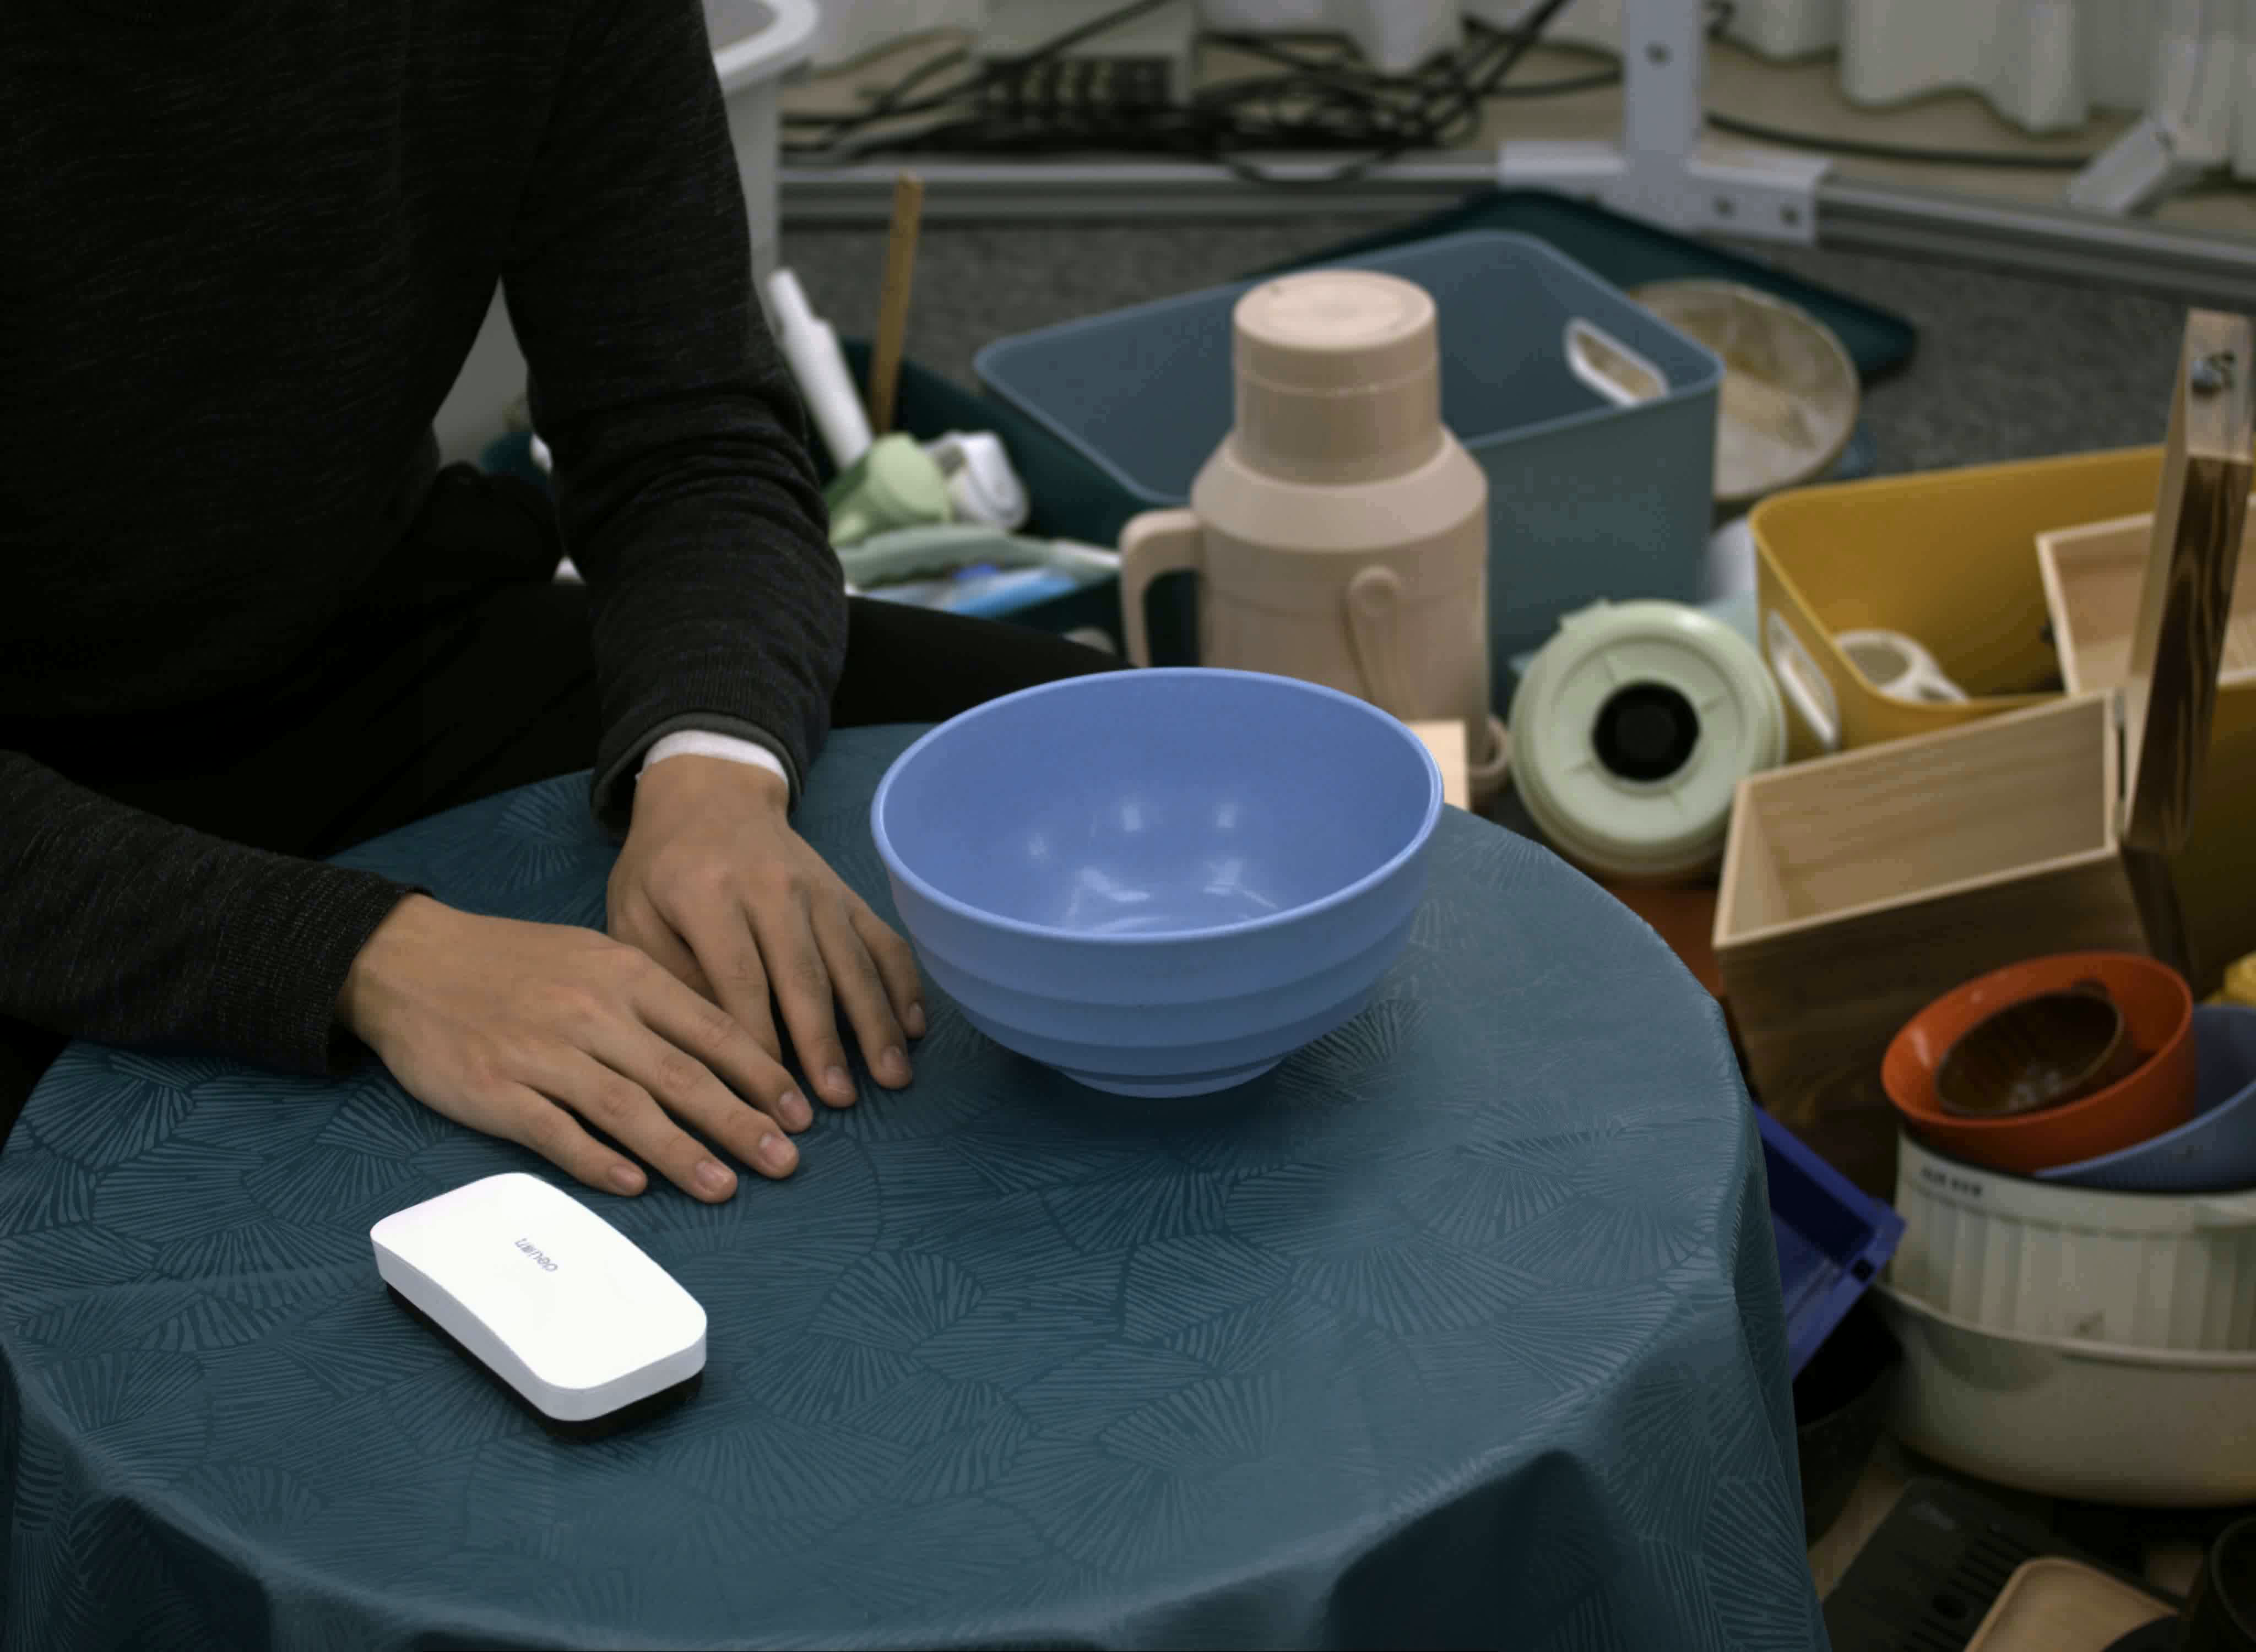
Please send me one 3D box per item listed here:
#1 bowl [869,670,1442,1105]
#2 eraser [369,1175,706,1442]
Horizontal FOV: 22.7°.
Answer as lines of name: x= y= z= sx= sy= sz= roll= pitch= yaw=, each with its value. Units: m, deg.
bowl: x=0.012 y=0.032 z=1.934 sx=0.195 sy=0.094 sz=0.199 roll=-3 pitch=28 yaw=2
eraser: x=-0.188 y=0.150 z=1.791 sx=0.064 sy=0.034 sz=0.131 roll=-19 pitch=32 yaw=-31
